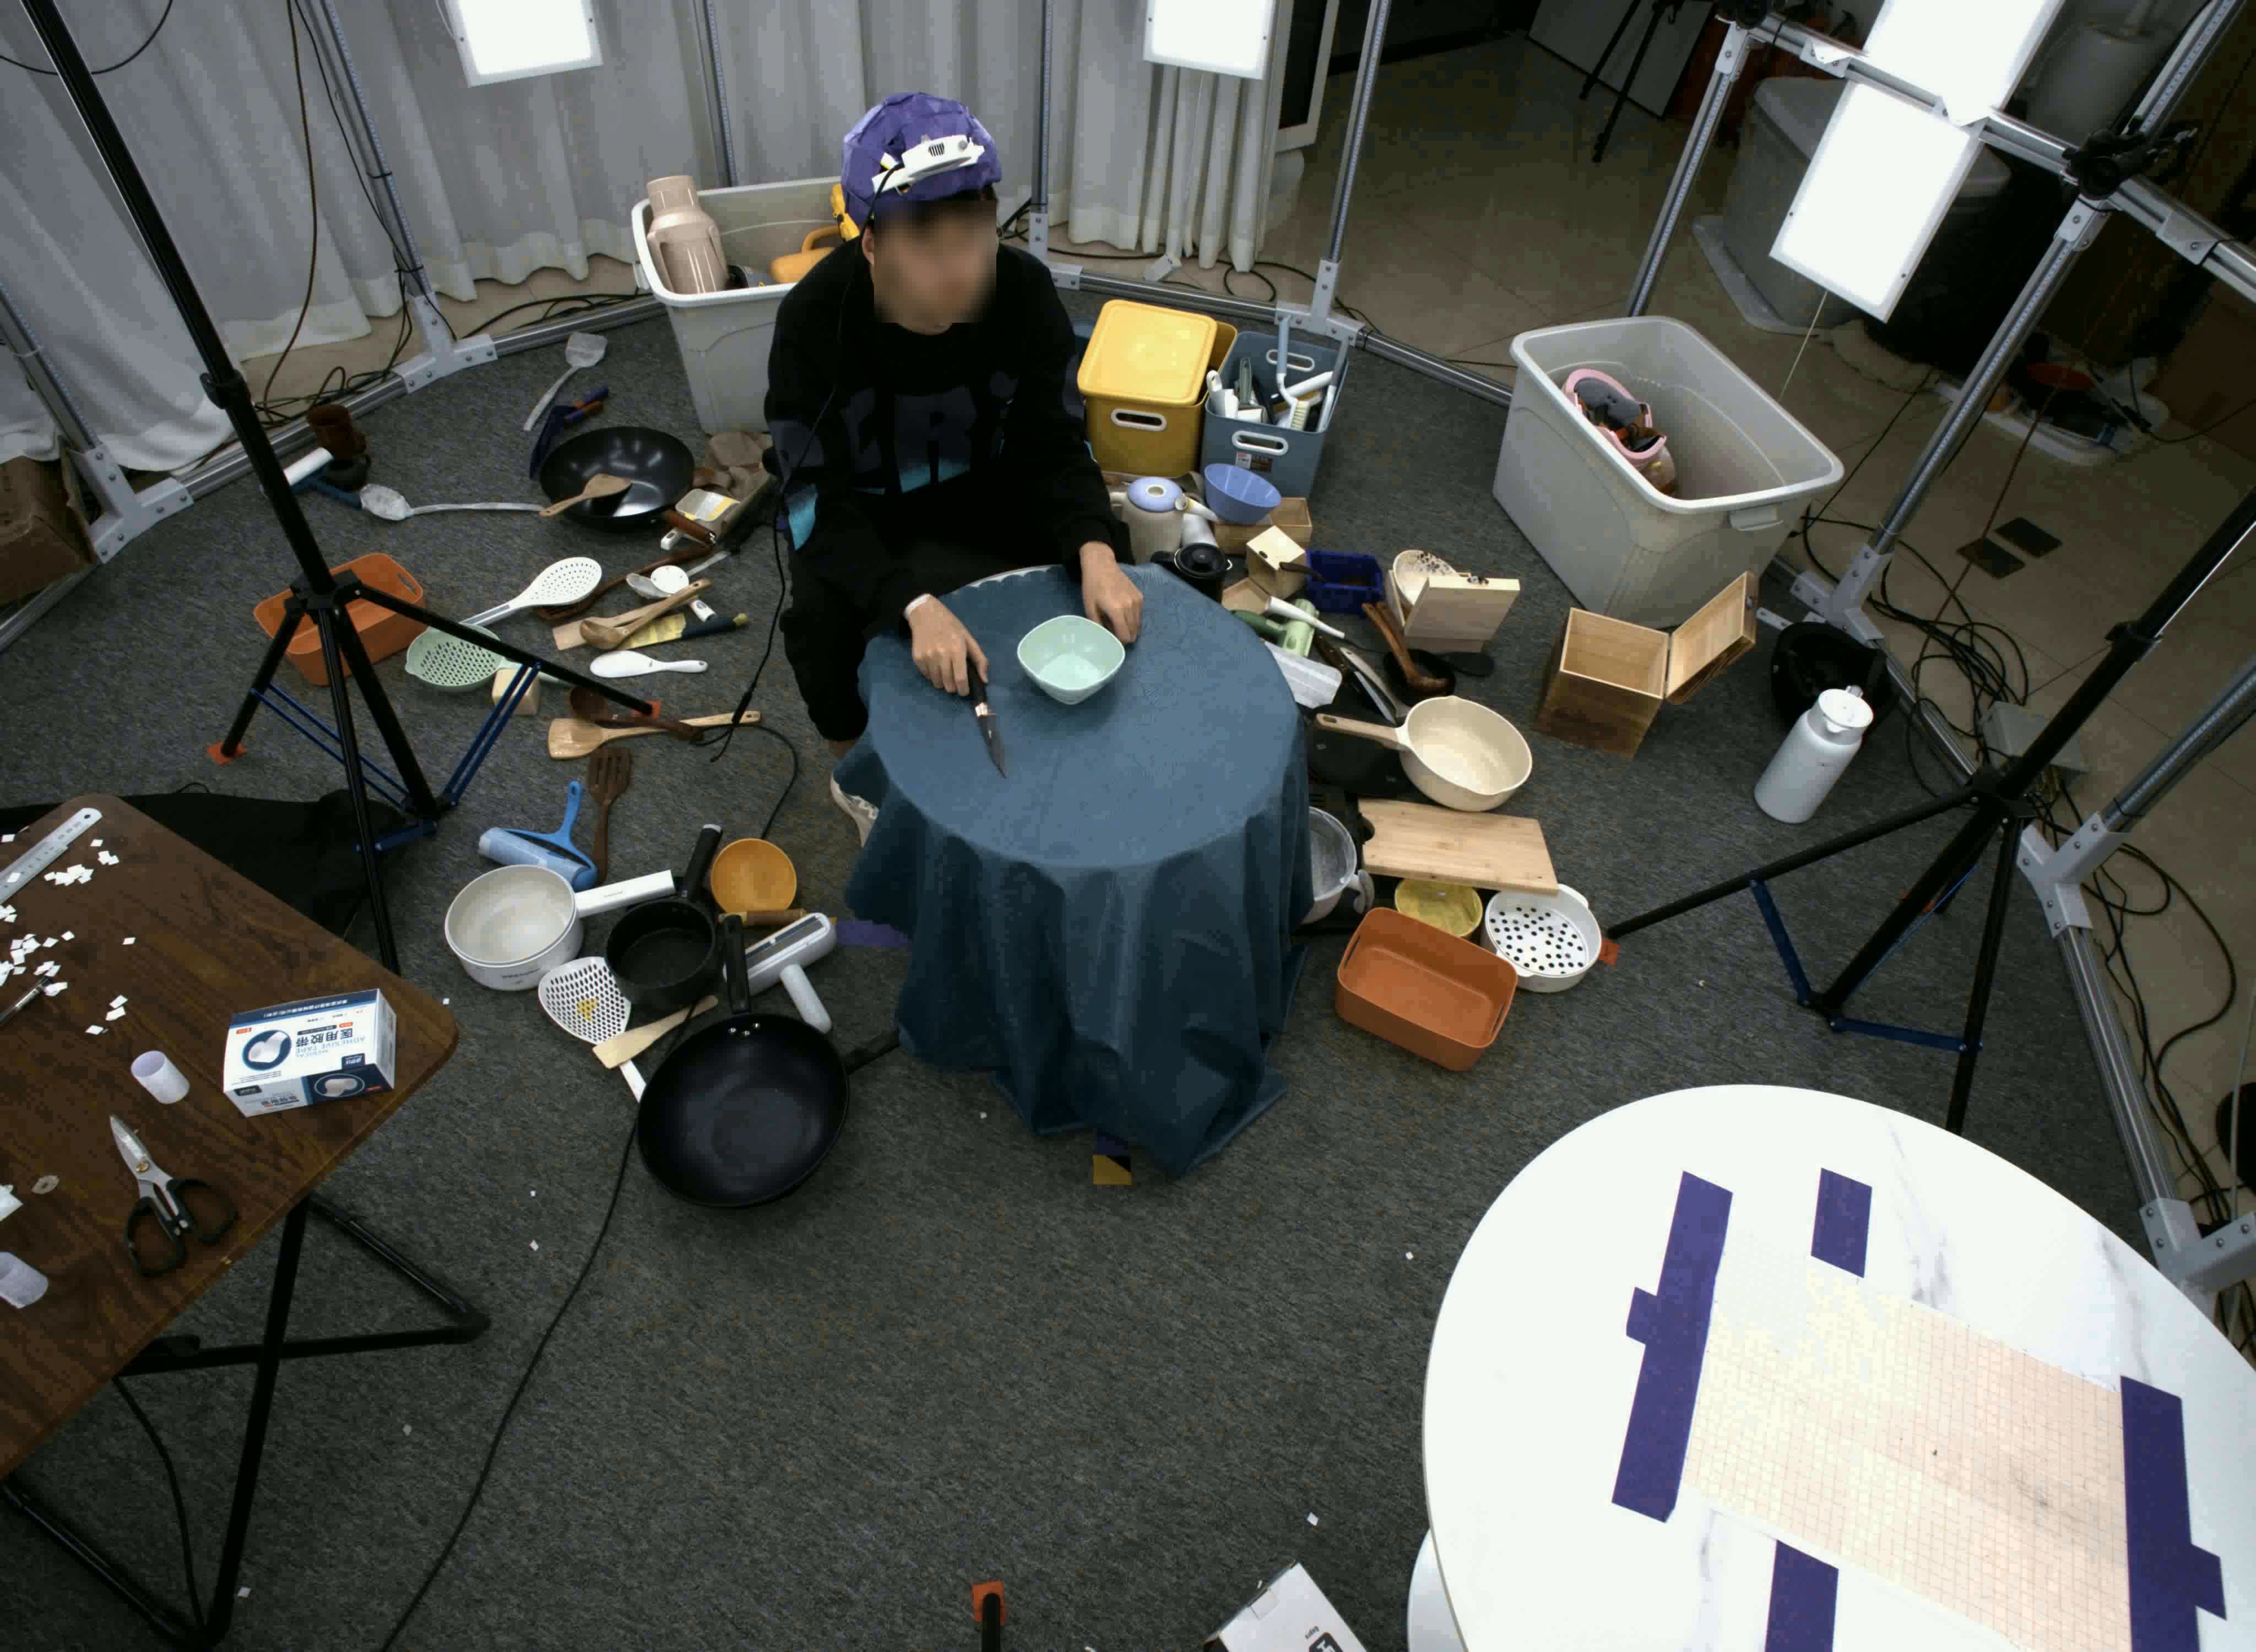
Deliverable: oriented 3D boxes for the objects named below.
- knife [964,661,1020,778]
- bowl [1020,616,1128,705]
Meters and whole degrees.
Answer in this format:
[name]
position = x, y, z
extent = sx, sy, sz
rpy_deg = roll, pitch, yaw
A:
[knife]
position = -0.190, -0.150, 1.779
extent = 0.026, 0.017, 0.231
rpy_deg = -7, 50, -22
[bowl]
position = -0.077, -0.227, 1.825
extent = 0.151, 0.057, 0.155
rpy_deg = 1, 50, -2
